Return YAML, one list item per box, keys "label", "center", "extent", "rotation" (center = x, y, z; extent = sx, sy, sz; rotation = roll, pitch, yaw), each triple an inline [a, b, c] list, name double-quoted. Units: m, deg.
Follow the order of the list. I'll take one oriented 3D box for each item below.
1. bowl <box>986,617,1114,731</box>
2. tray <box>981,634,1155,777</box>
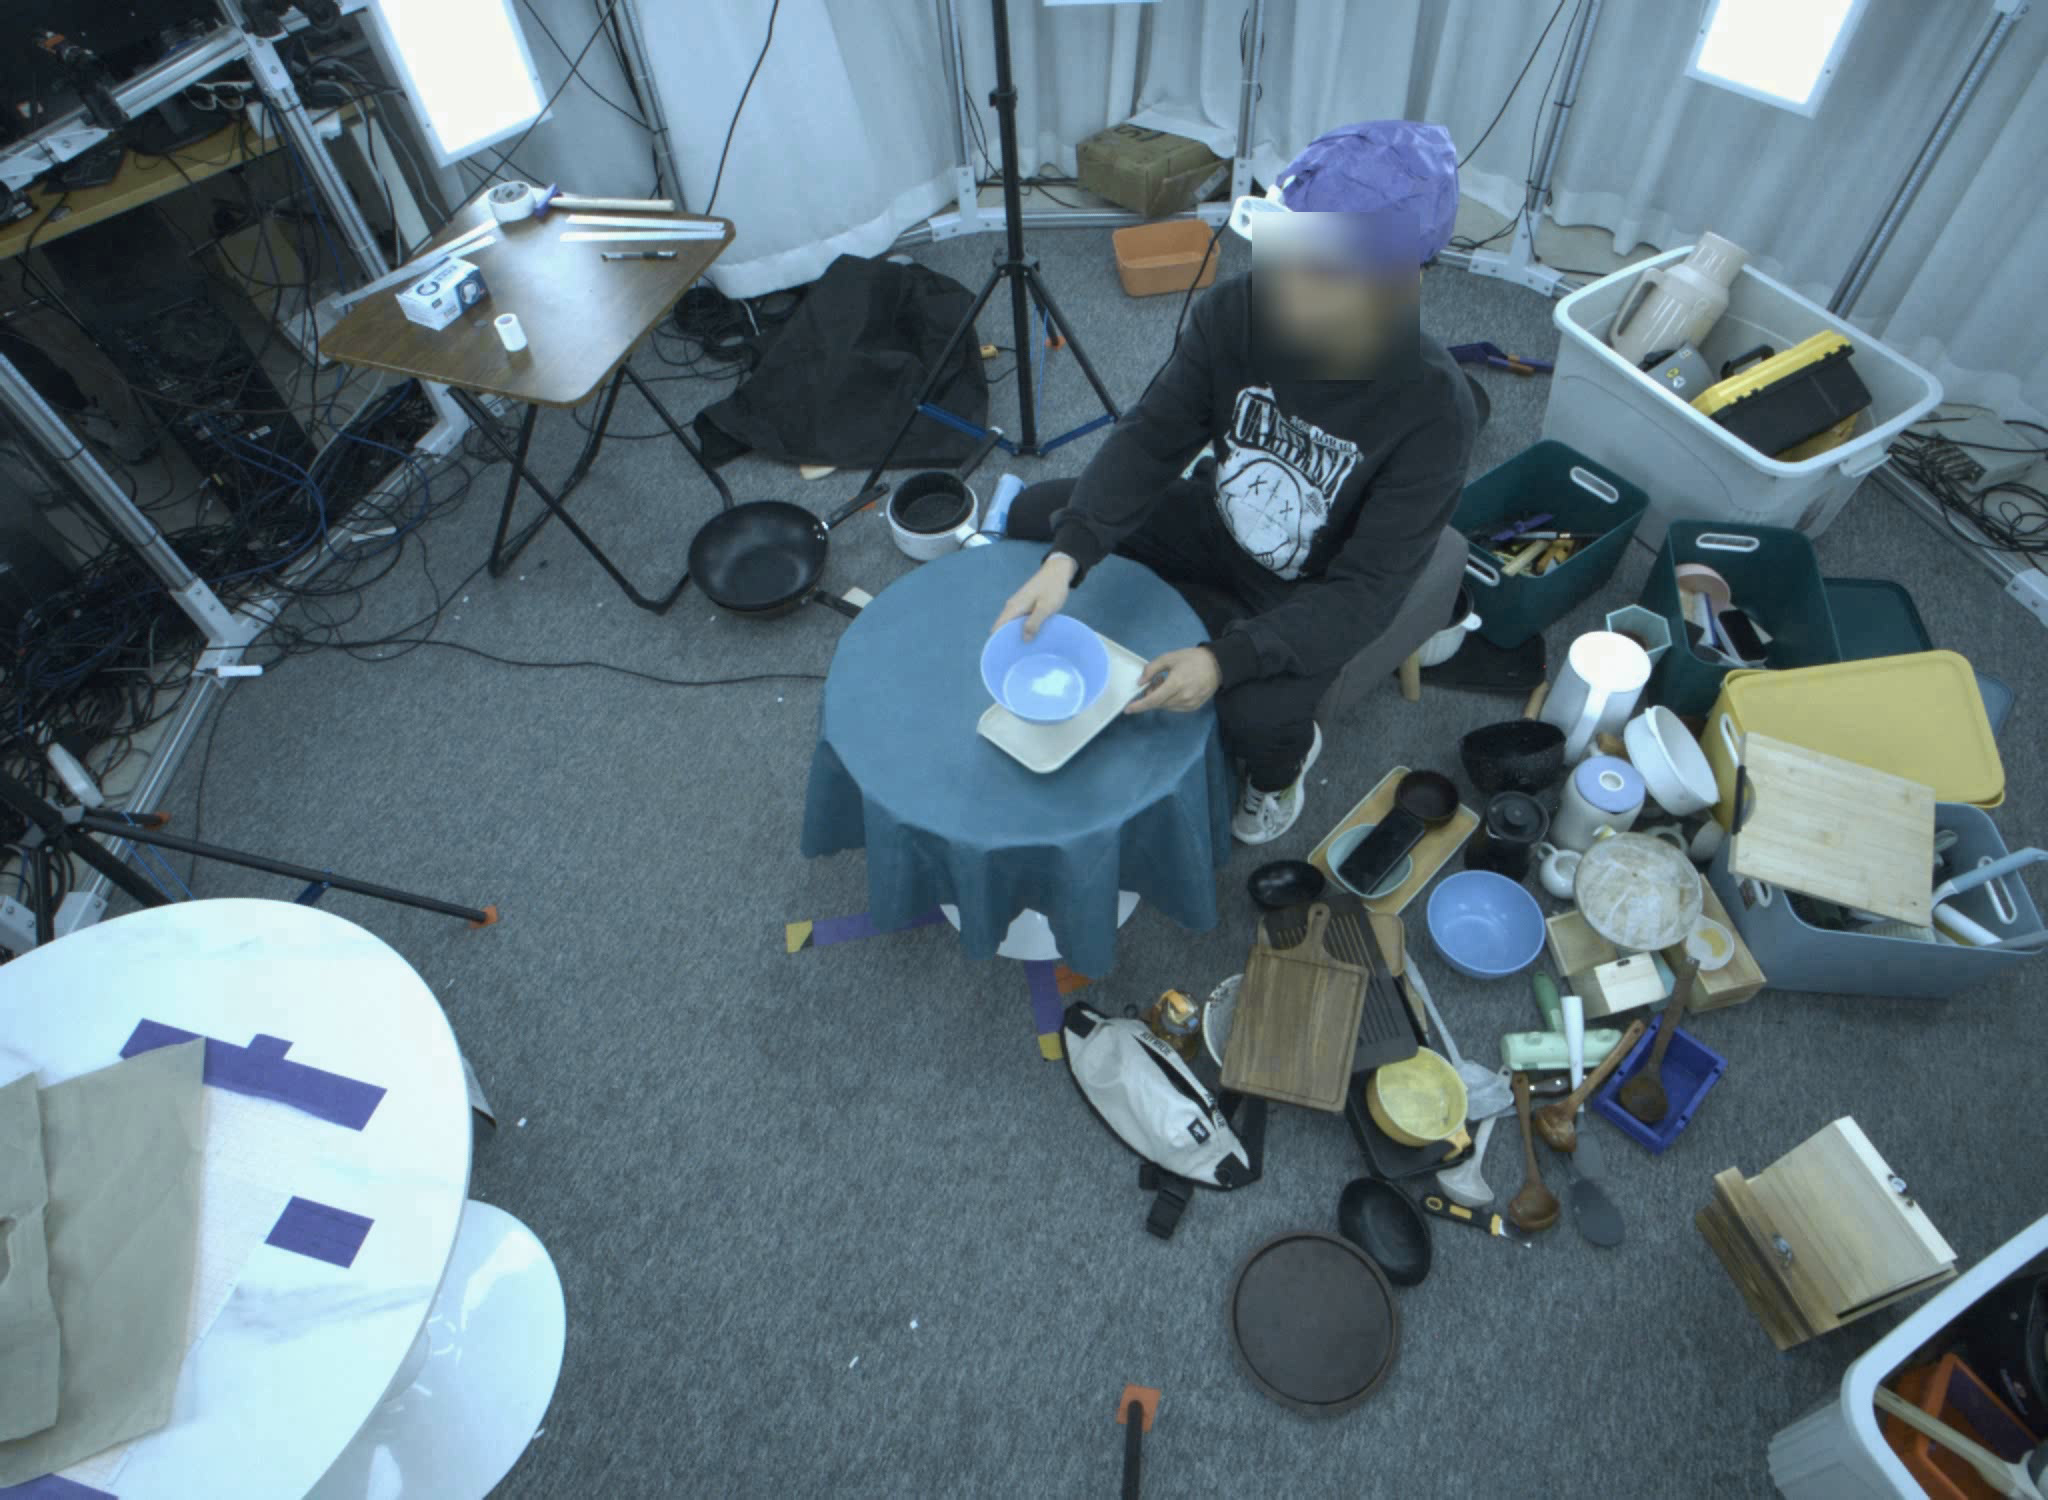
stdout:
- label: "bowl"
  center: [0.035, -0.094, 1.703]
  extent: [0.176, 0.071, 0.174]
  rotation: [2, 62, -2]
- label: "tray"
  center: [0.065, -0.066, 1.800]
  extent: [0.241, 0.018, 0.167]
  rotation: [-42, 52, -16]
